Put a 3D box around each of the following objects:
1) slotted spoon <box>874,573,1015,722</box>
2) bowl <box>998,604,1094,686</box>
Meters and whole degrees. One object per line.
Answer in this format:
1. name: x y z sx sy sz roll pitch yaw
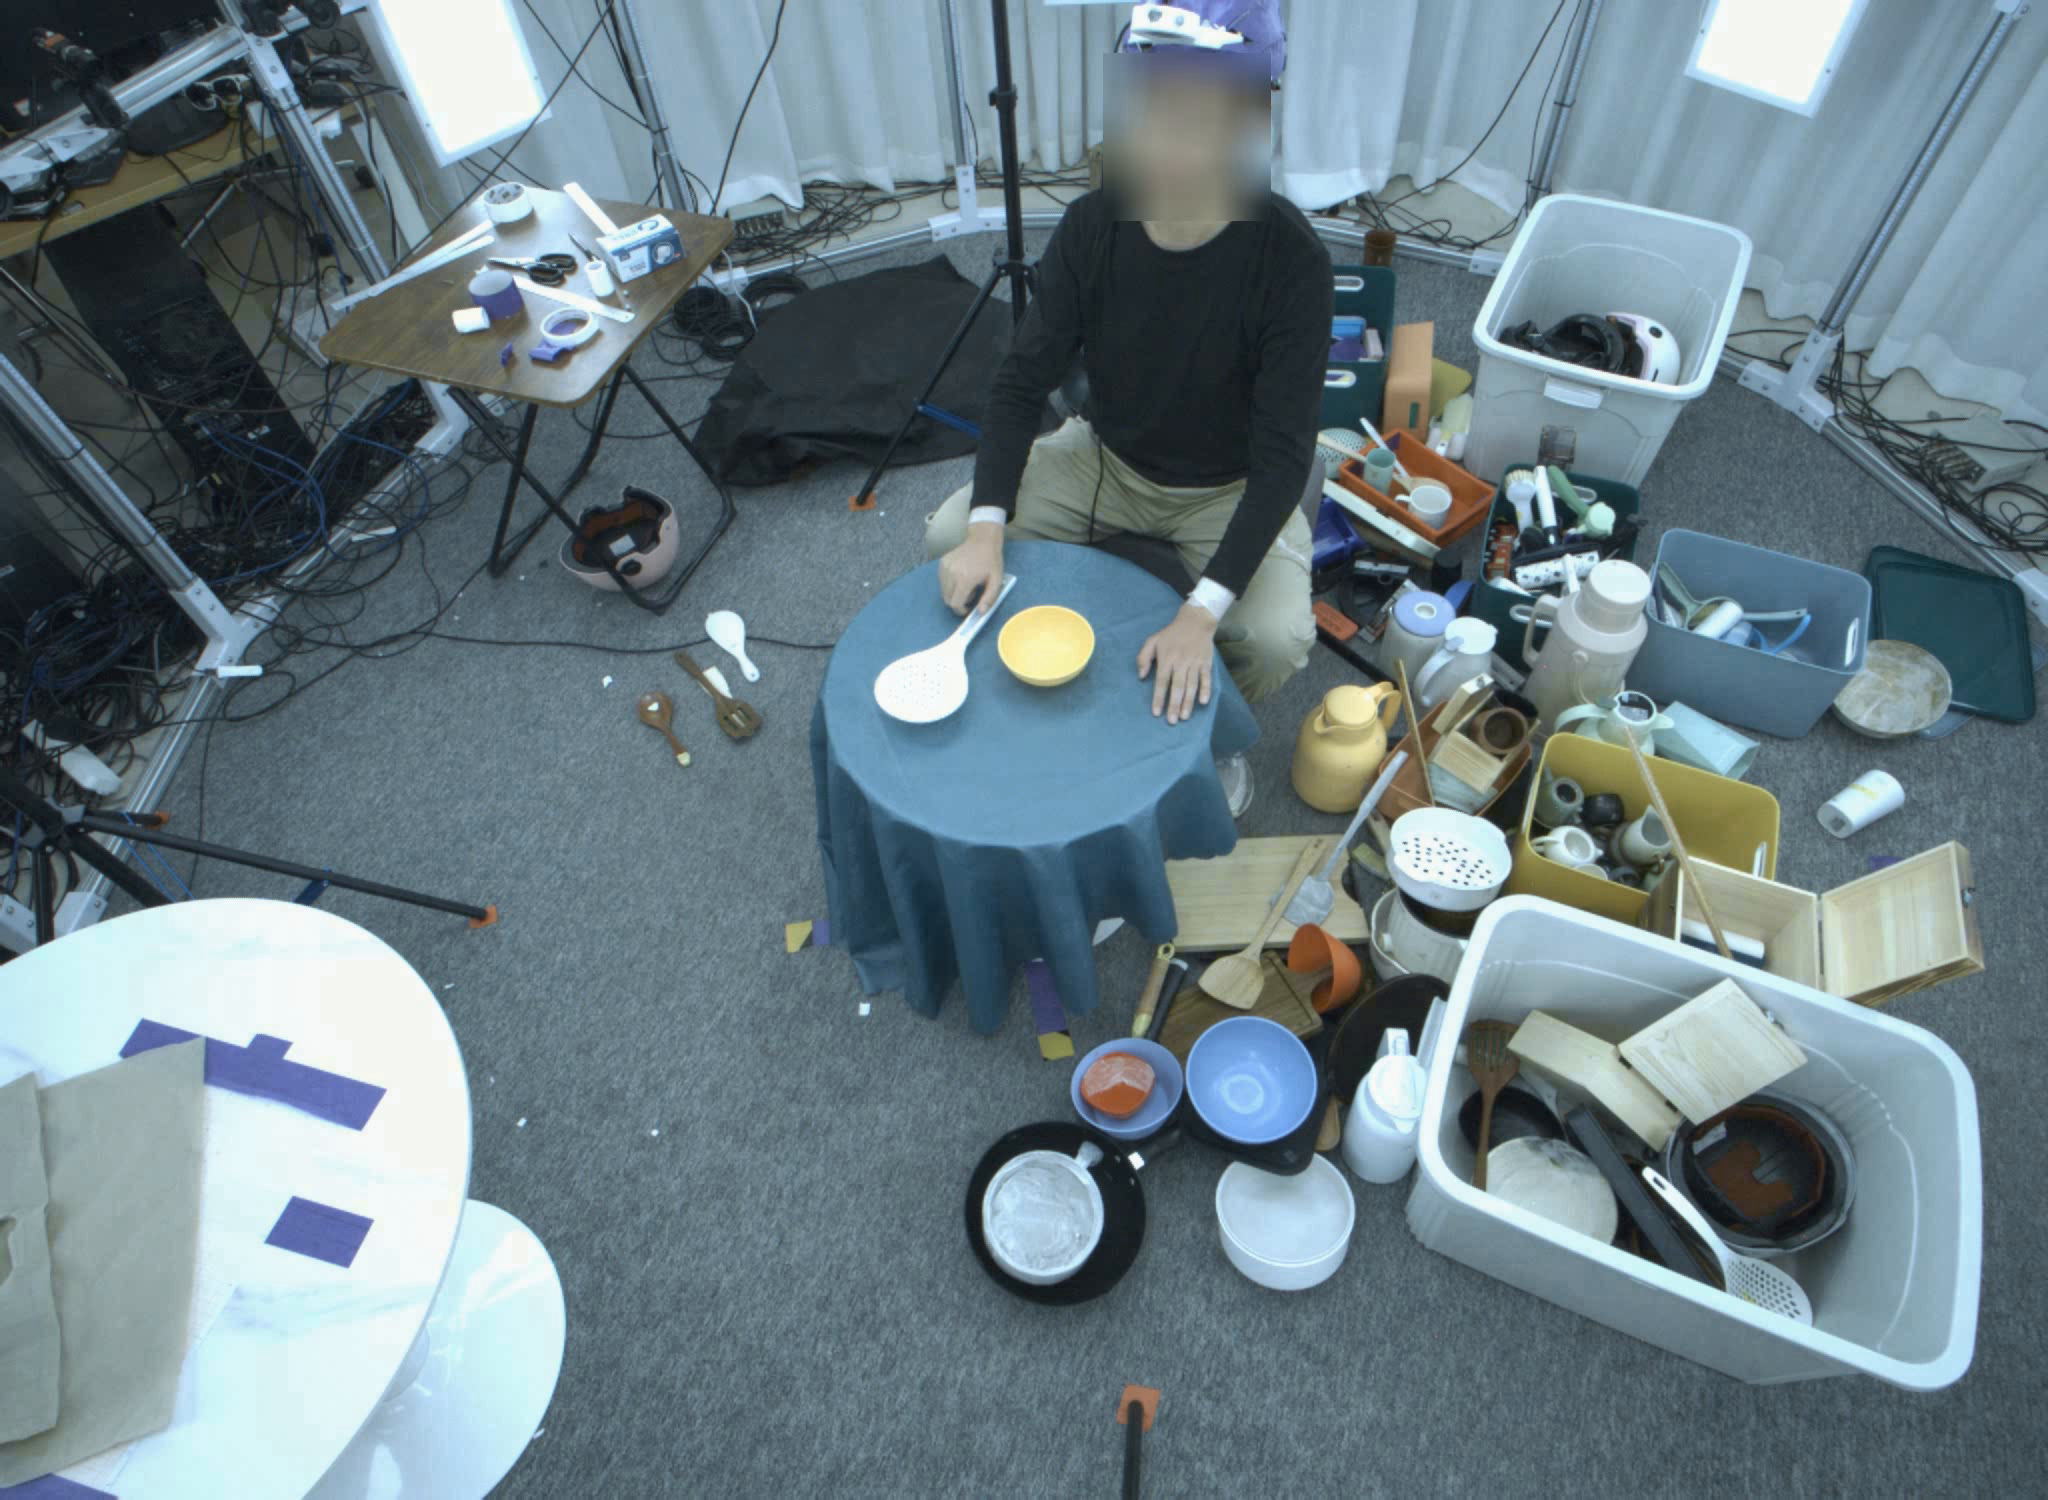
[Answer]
1. slotted spoon: -0.105 -0.162 1.878 0.134 0.046 0.350 20 57 18
2. bowl: 0.034 -0.147 1.857 0.145 0.061 0.144 0 57 1
